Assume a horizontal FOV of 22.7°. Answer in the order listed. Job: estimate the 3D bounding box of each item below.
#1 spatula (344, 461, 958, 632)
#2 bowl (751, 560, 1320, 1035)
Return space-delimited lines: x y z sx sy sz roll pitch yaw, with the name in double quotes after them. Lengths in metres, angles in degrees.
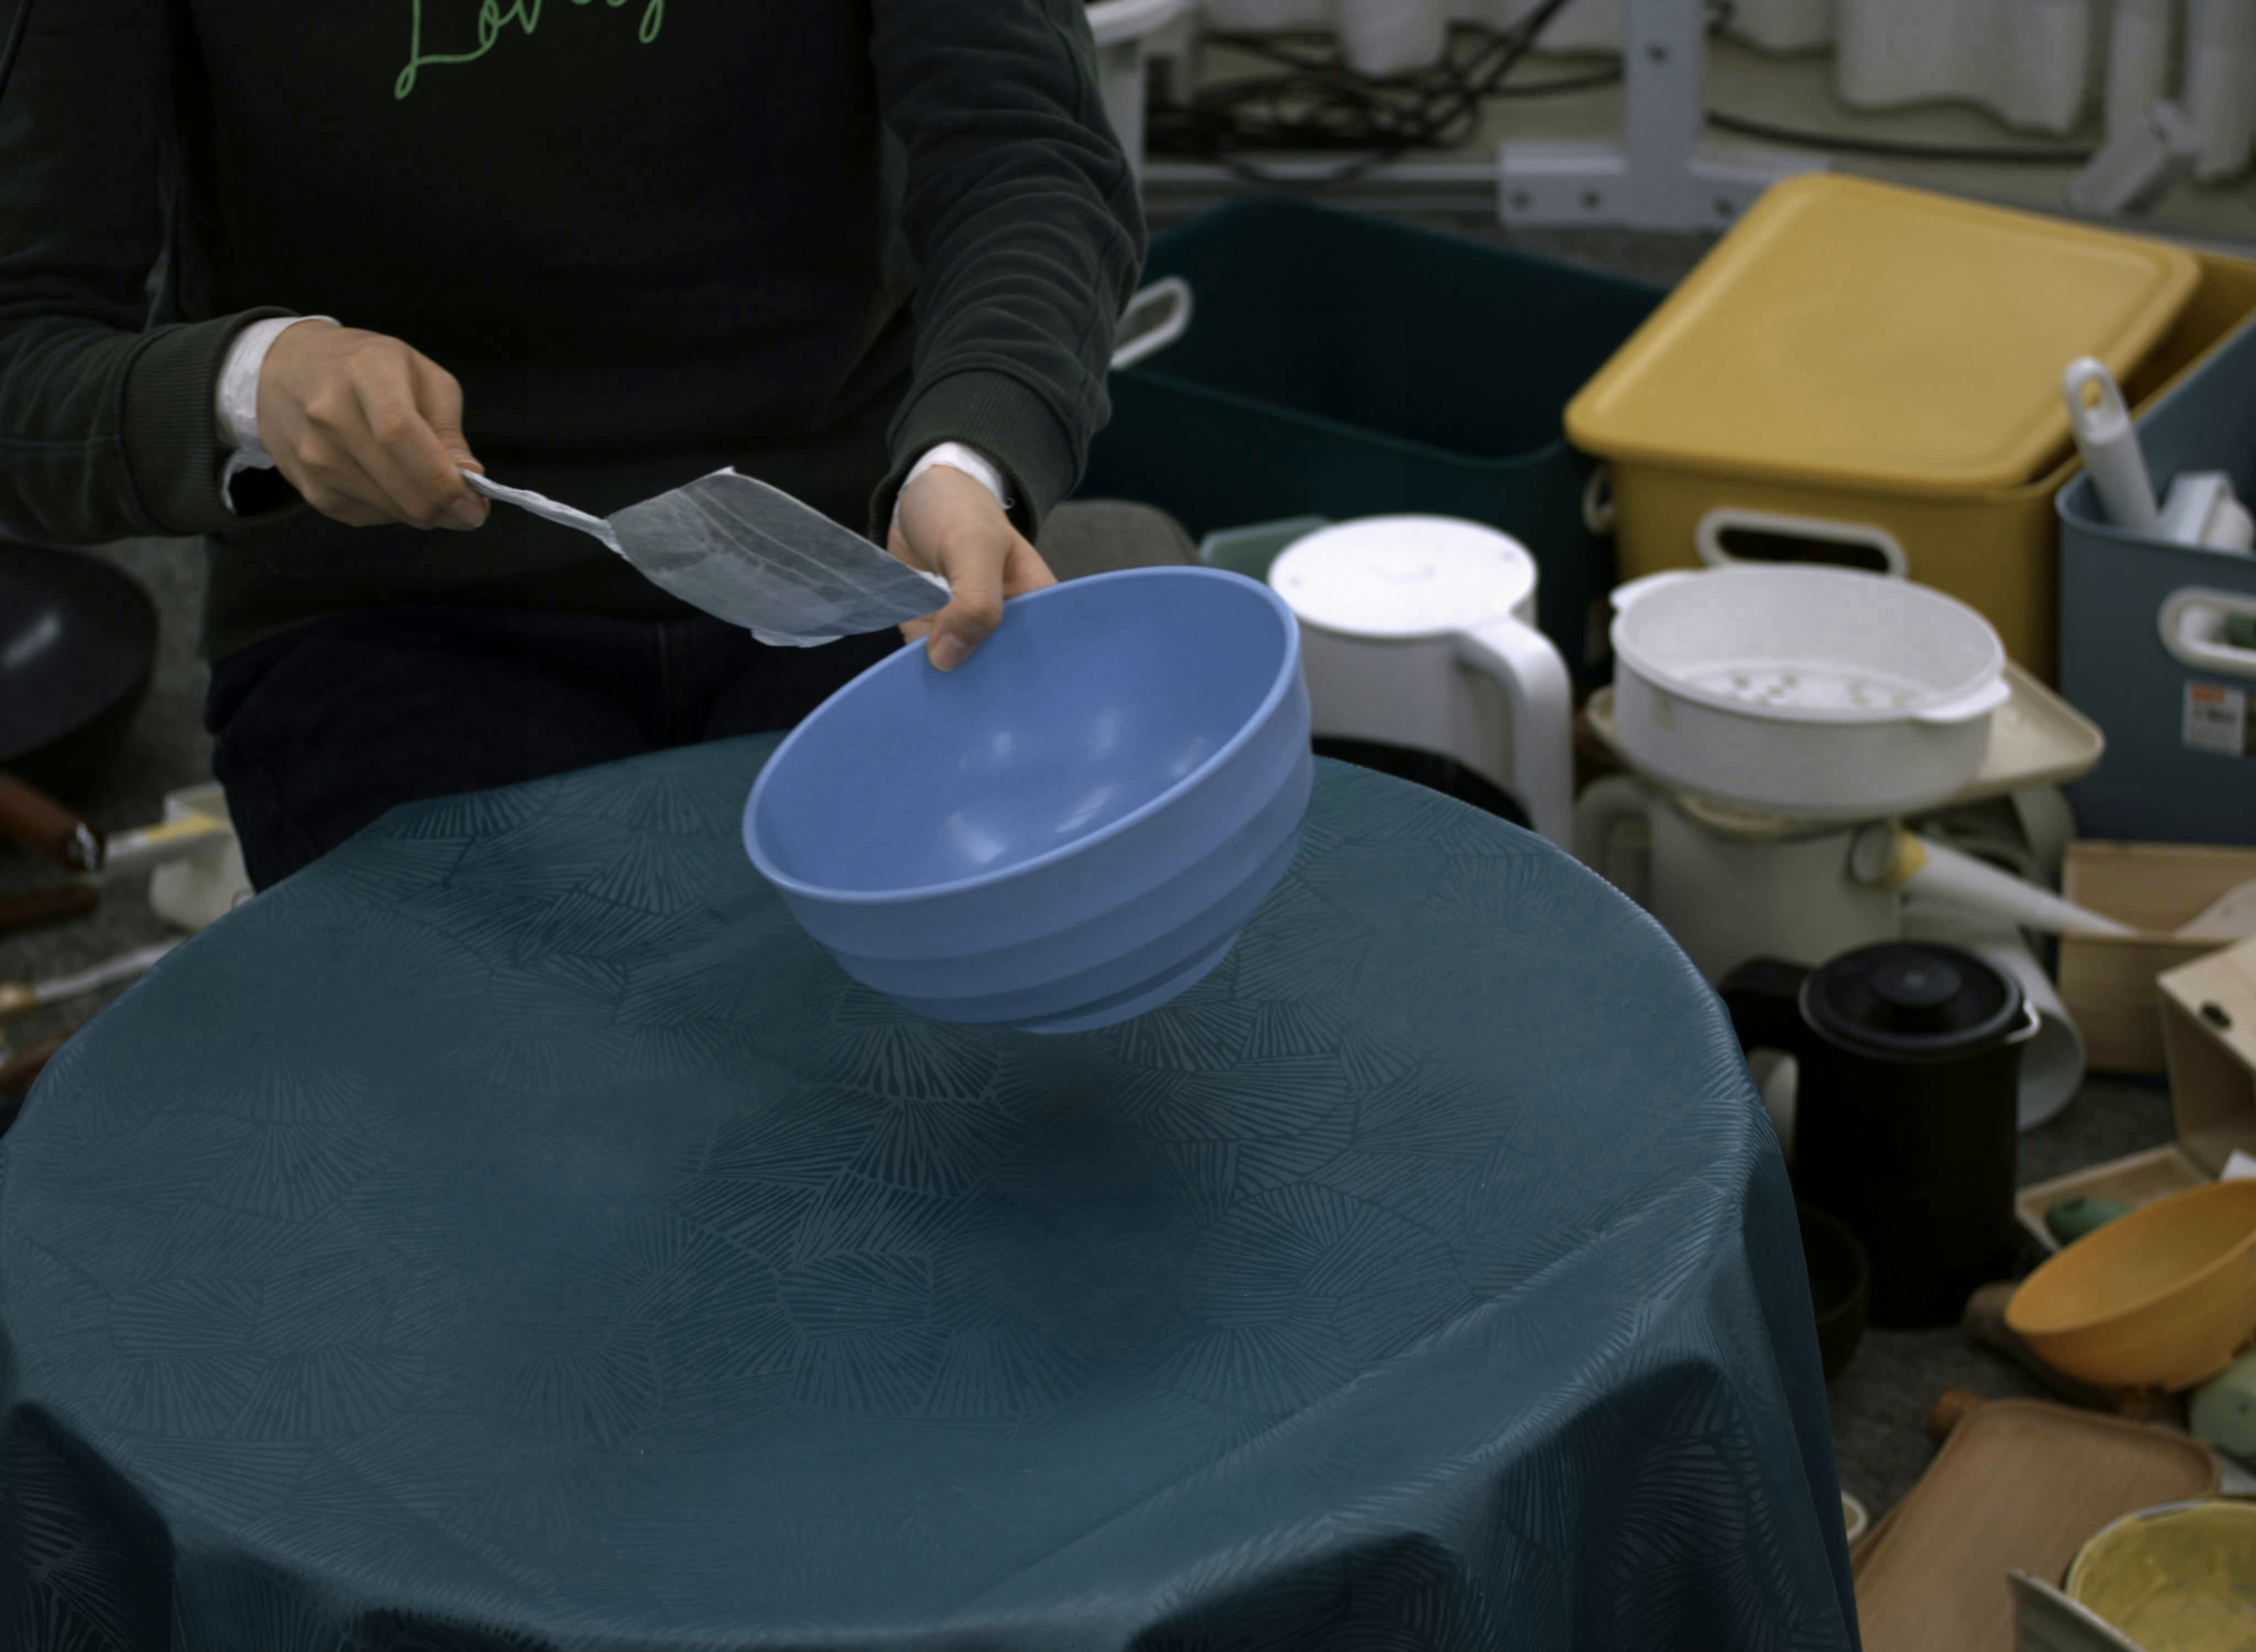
-0.184 -0.107 1.905 0.098 0.045 0.364 27 -4 -33 "spatula"
-0.018 0.004 1.864 0.195 0.094 0.199 -19 27 10 "bowl"
